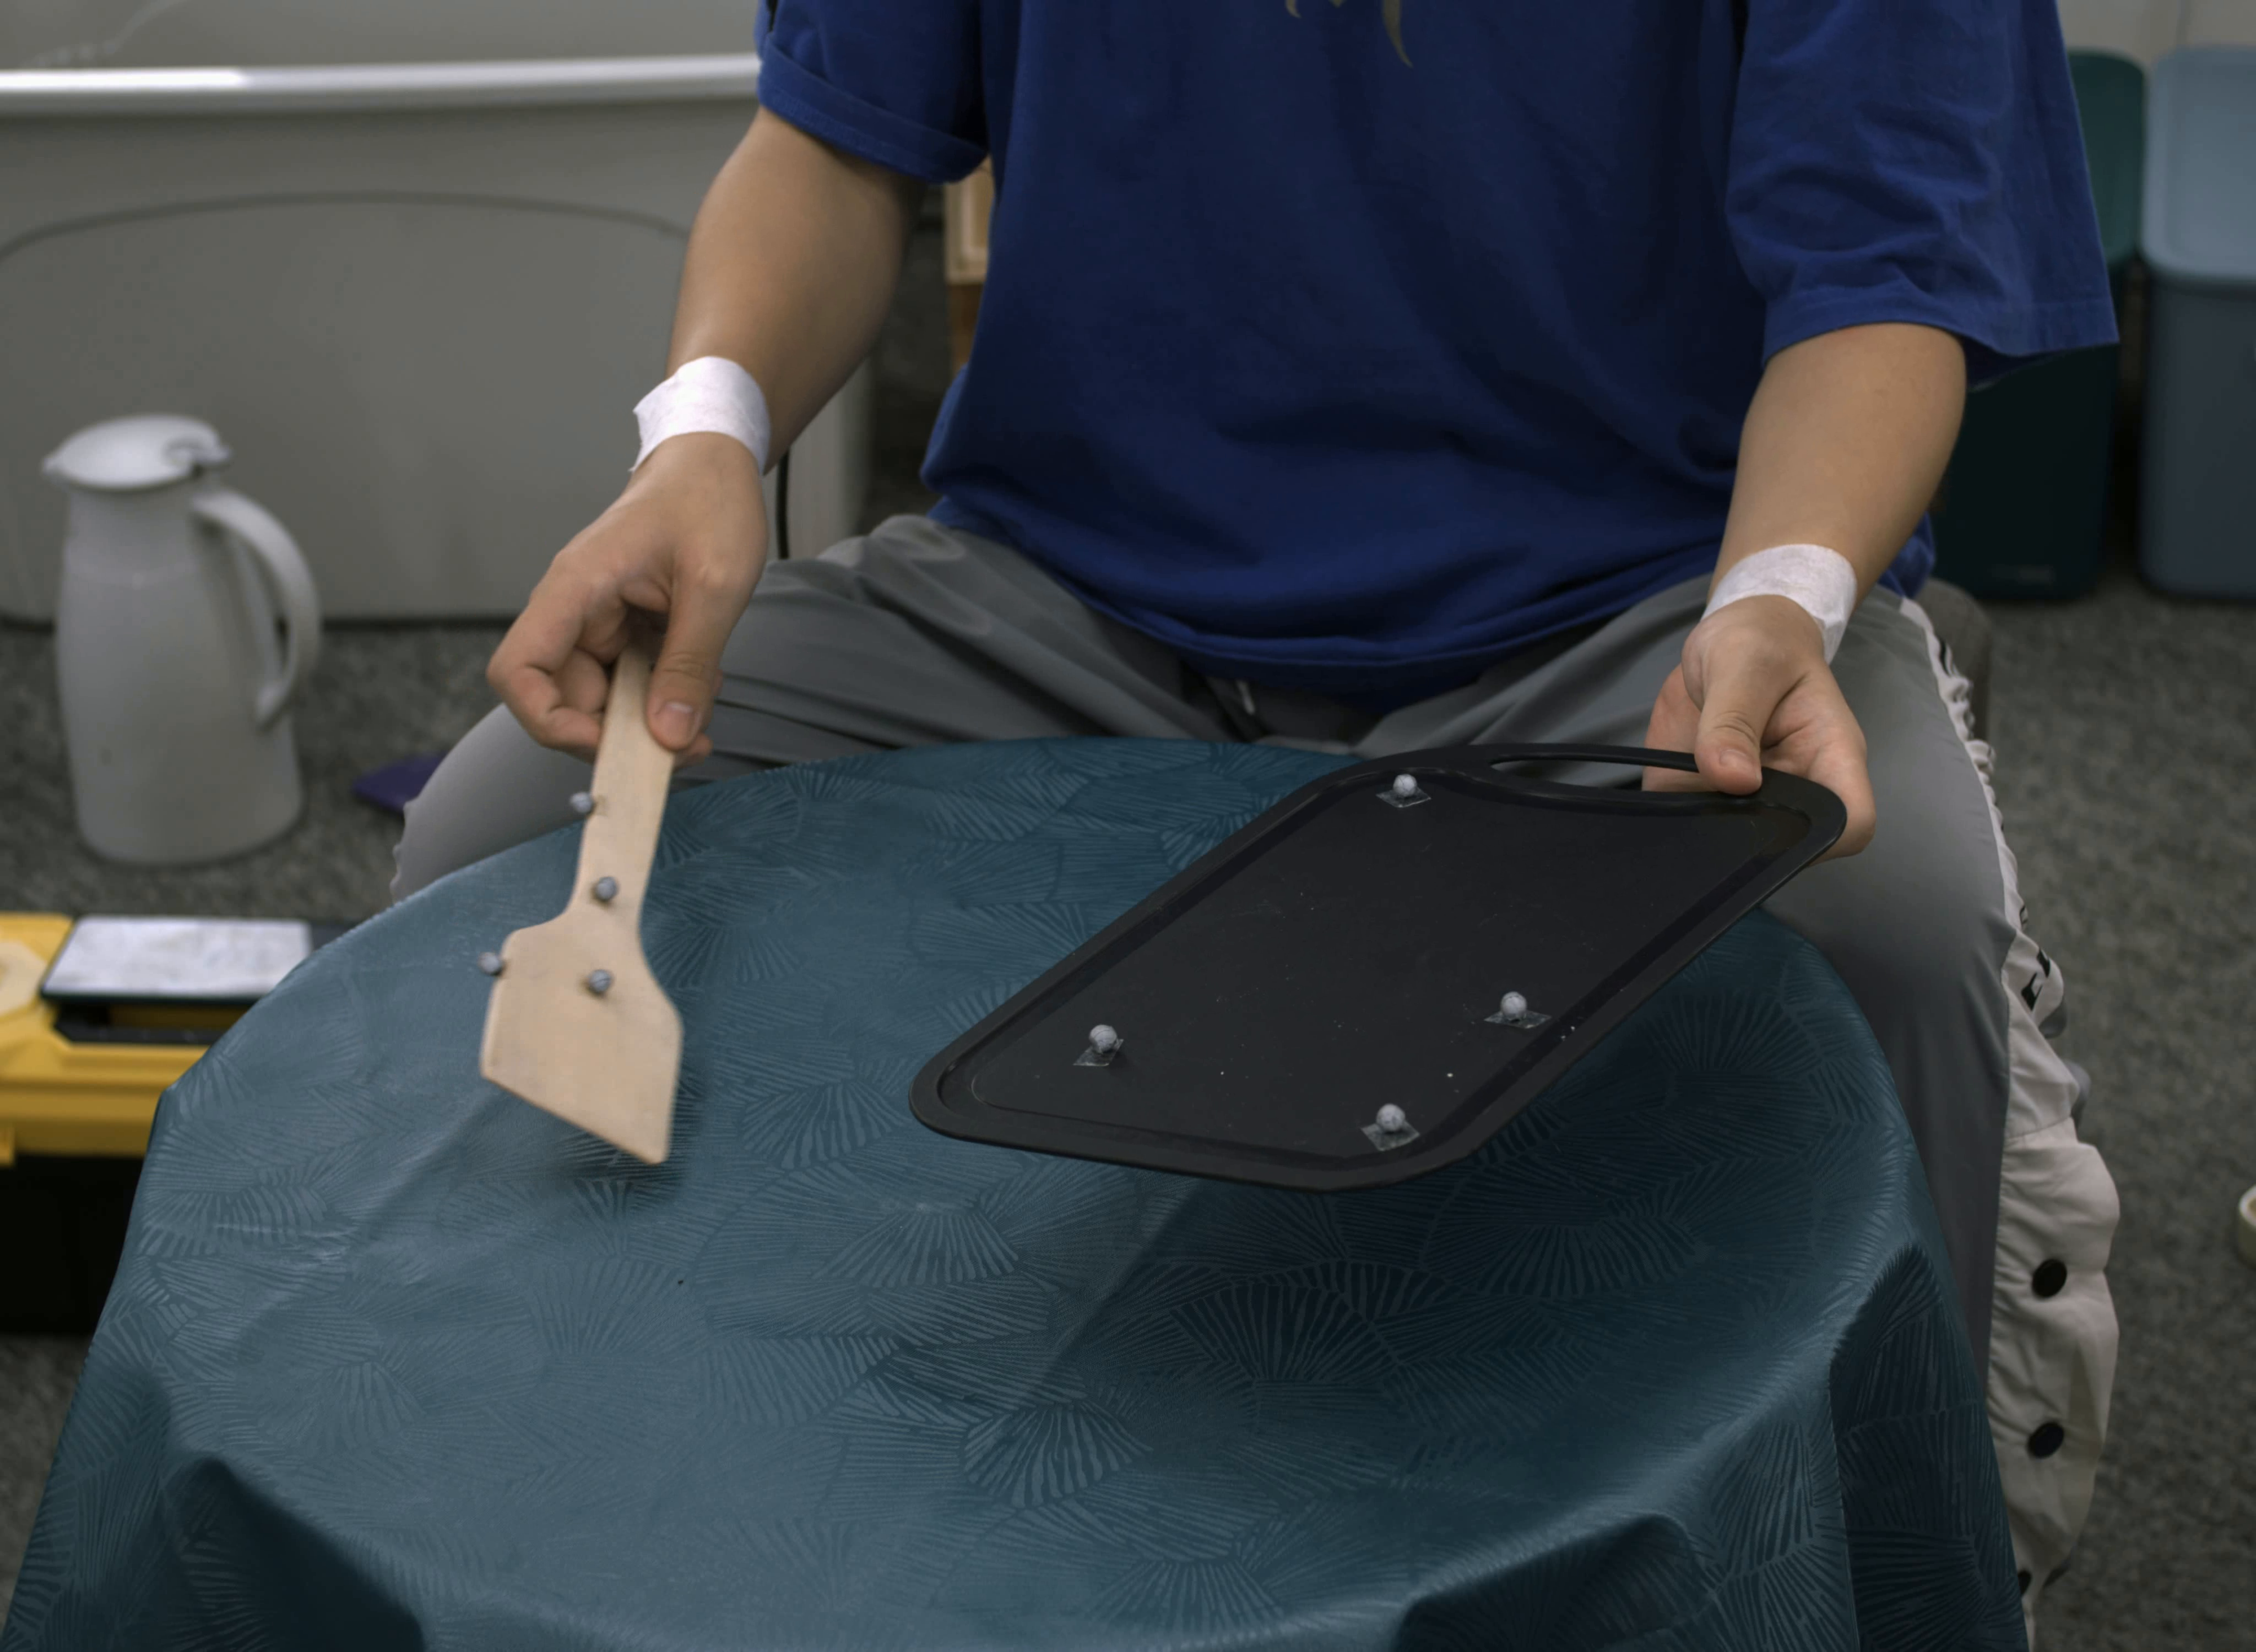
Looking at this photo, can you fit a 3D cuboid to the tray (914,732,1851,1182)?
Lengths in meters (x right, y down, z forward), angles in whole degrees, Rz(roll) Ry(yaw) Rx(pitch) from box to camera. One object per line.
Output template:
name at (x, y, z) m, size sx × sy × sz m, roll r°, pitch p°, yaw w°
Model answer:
tray at (0.089, 0.033, 1.813) m, size 0.209 × 0.010 × 0.330 m, roll 6°, pitch 27°, yaw 36°

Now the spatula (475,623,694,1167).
spatula at (-0.182, 0.015, 1.984) m, size 0.072 × 0.010 × 0.298 m, roll 29°, pitch 32°, yaw -17°
